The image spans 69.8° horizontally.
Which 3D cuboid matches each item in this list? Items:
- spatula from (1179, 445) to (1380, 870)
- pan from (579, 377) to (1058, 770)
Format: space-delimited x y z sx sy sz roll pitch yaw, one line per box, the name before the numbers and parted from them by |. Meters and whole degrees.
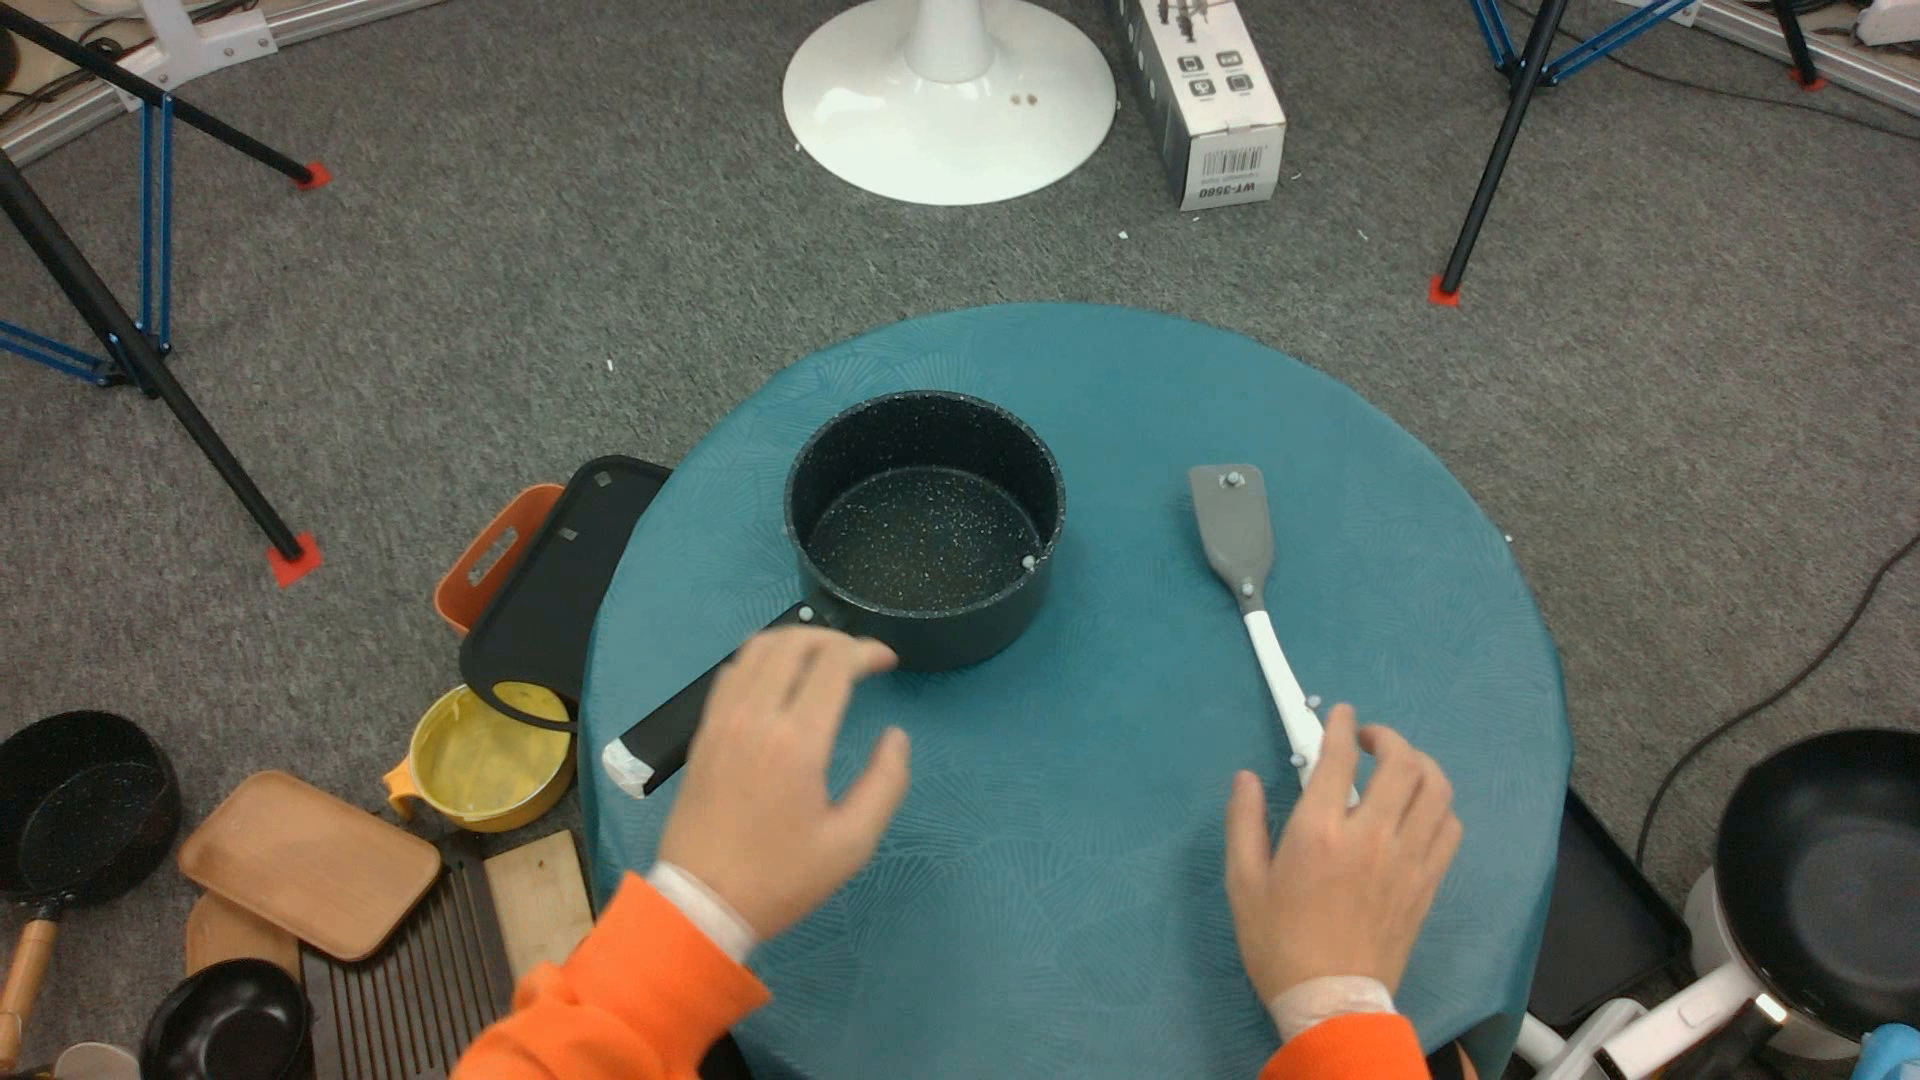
spatula | 0.192 0.059 0.840 0.059 0.032 0.288 -5 56 -10
pan | -0.080 0.034 0.818 0.172 0.086 0.330 36 60 22
